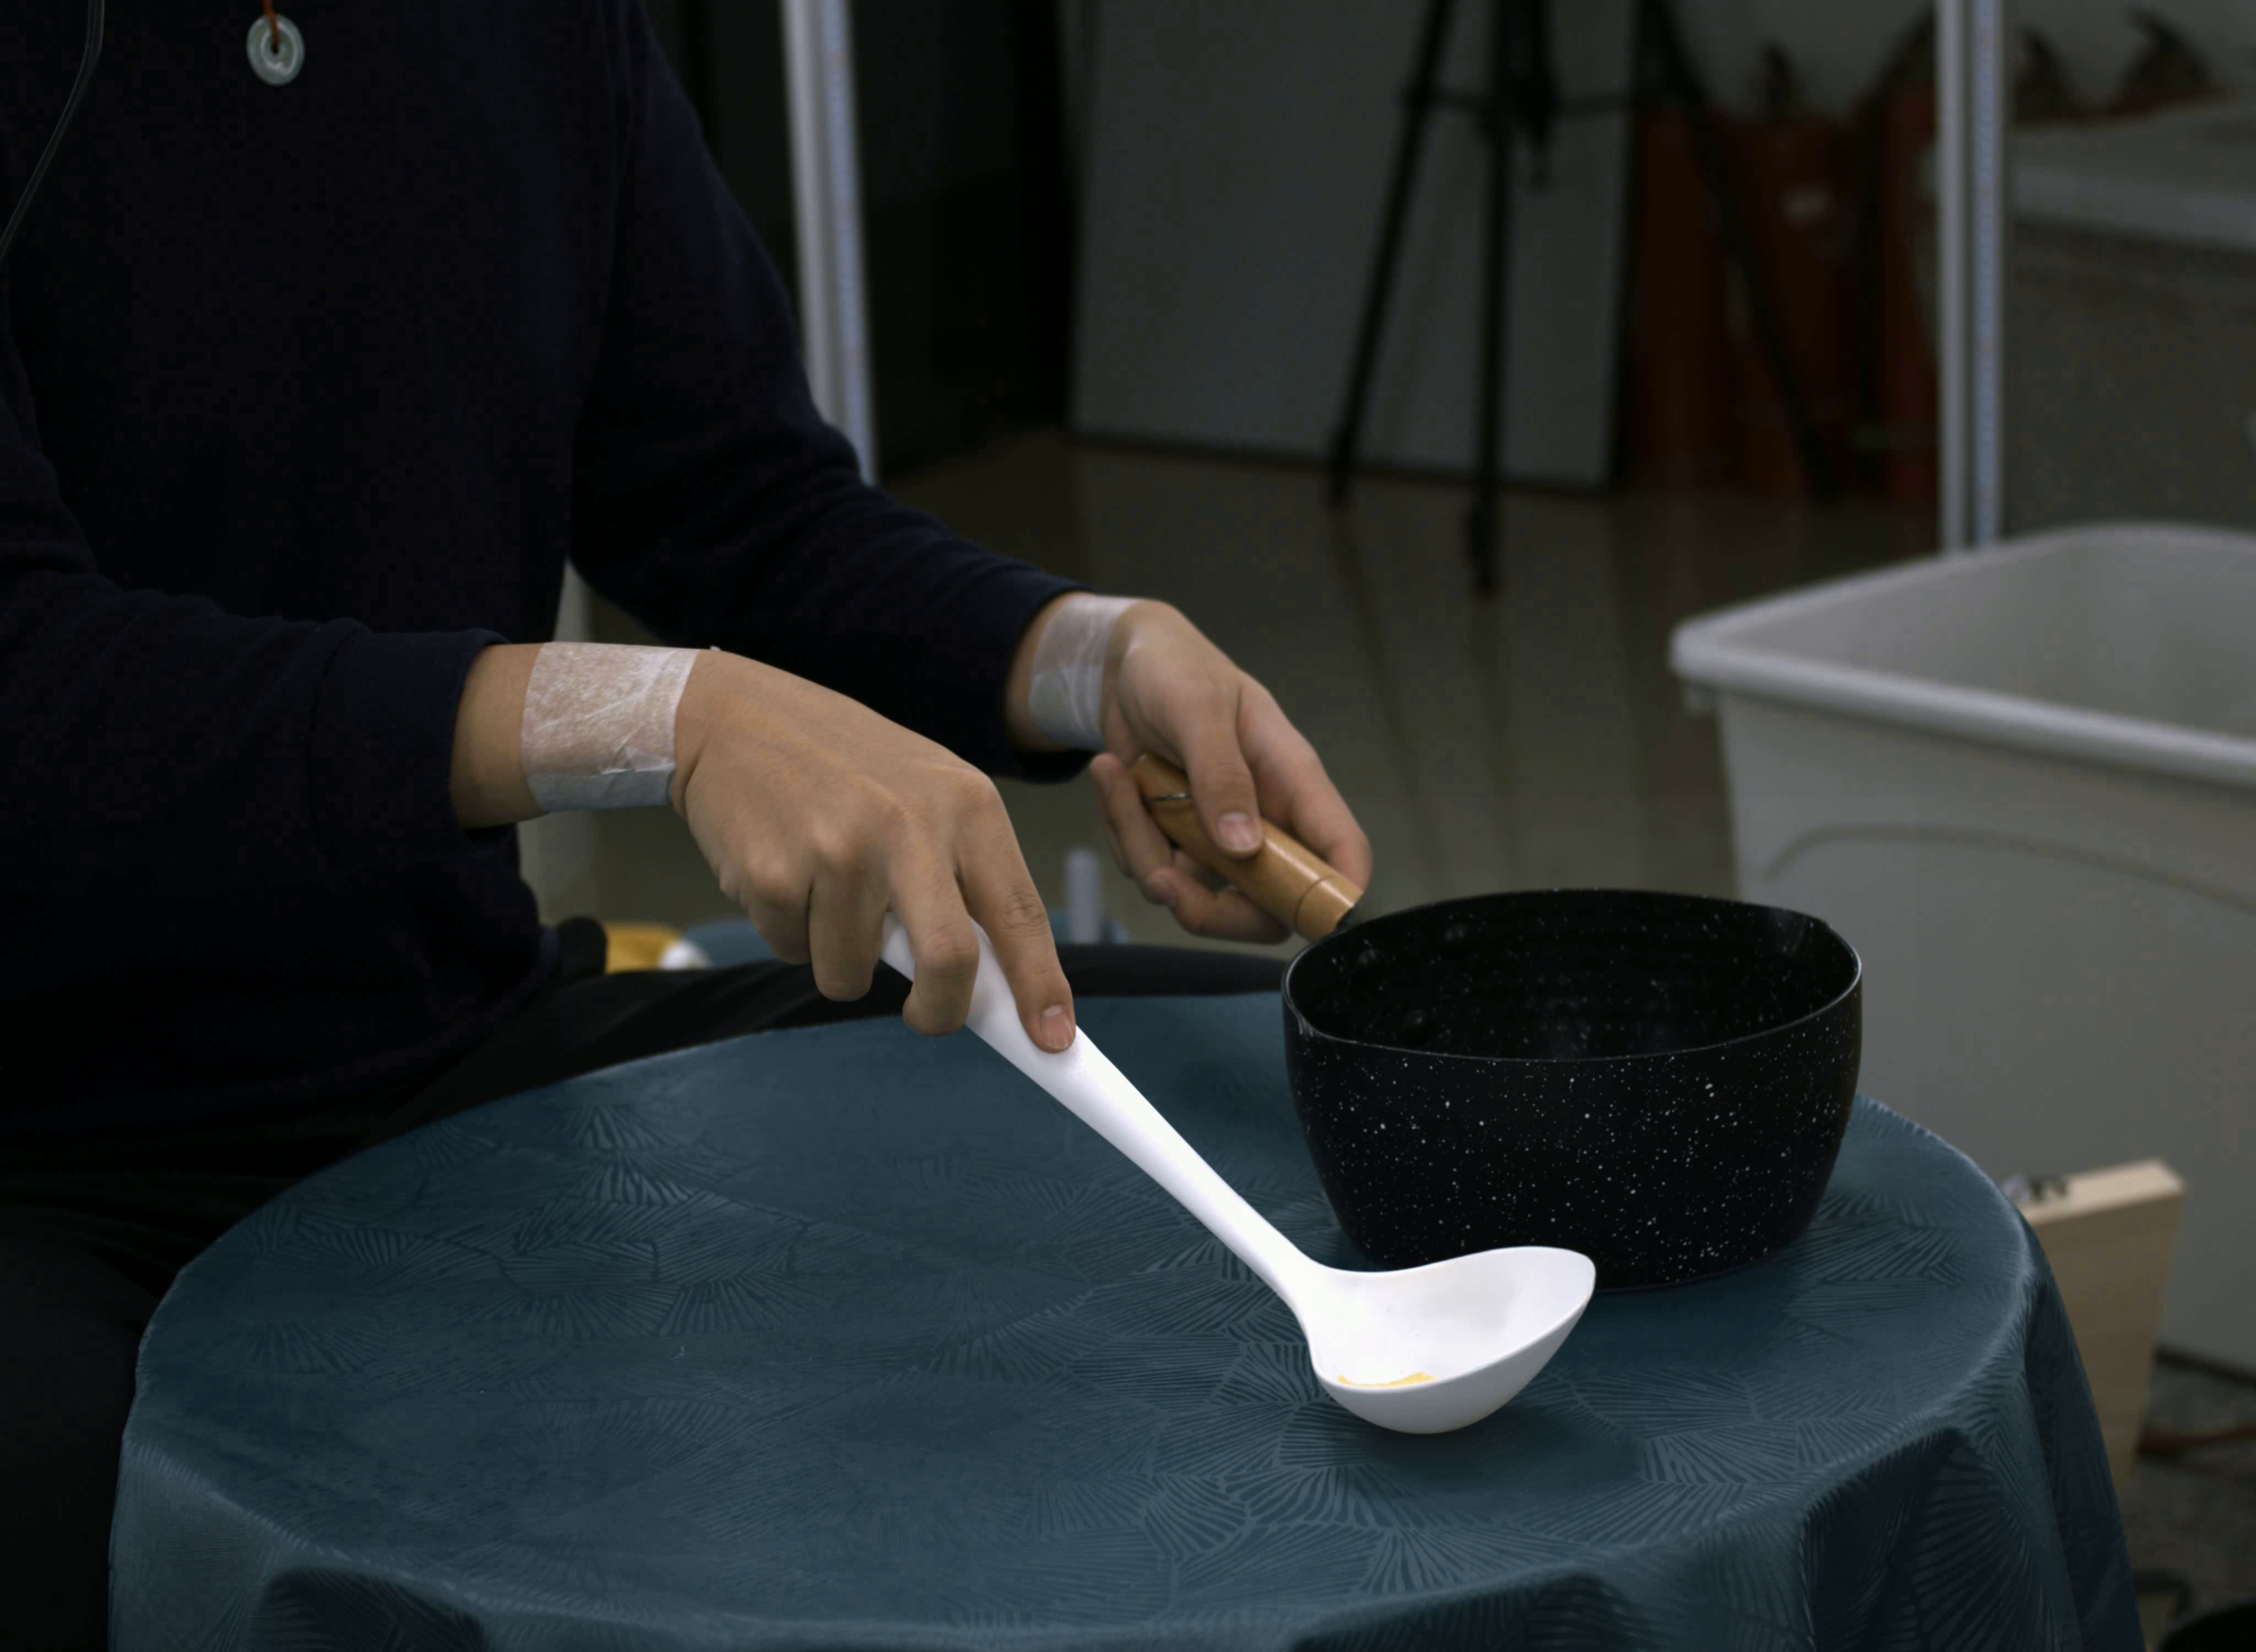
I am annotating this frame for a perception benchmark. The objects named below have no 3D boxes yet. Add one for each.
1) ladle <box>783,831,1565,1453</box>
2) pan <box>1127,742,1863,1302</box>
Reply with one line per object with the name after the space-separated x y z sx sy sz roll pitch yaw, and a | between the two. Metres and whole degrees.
0.005 0.084 1.581 0.089 0.070 0.295 -33 57 -29 | ladle
0.097 0.058 1.763 0.203 0.109 0.346 -14 19 -30 | pan
